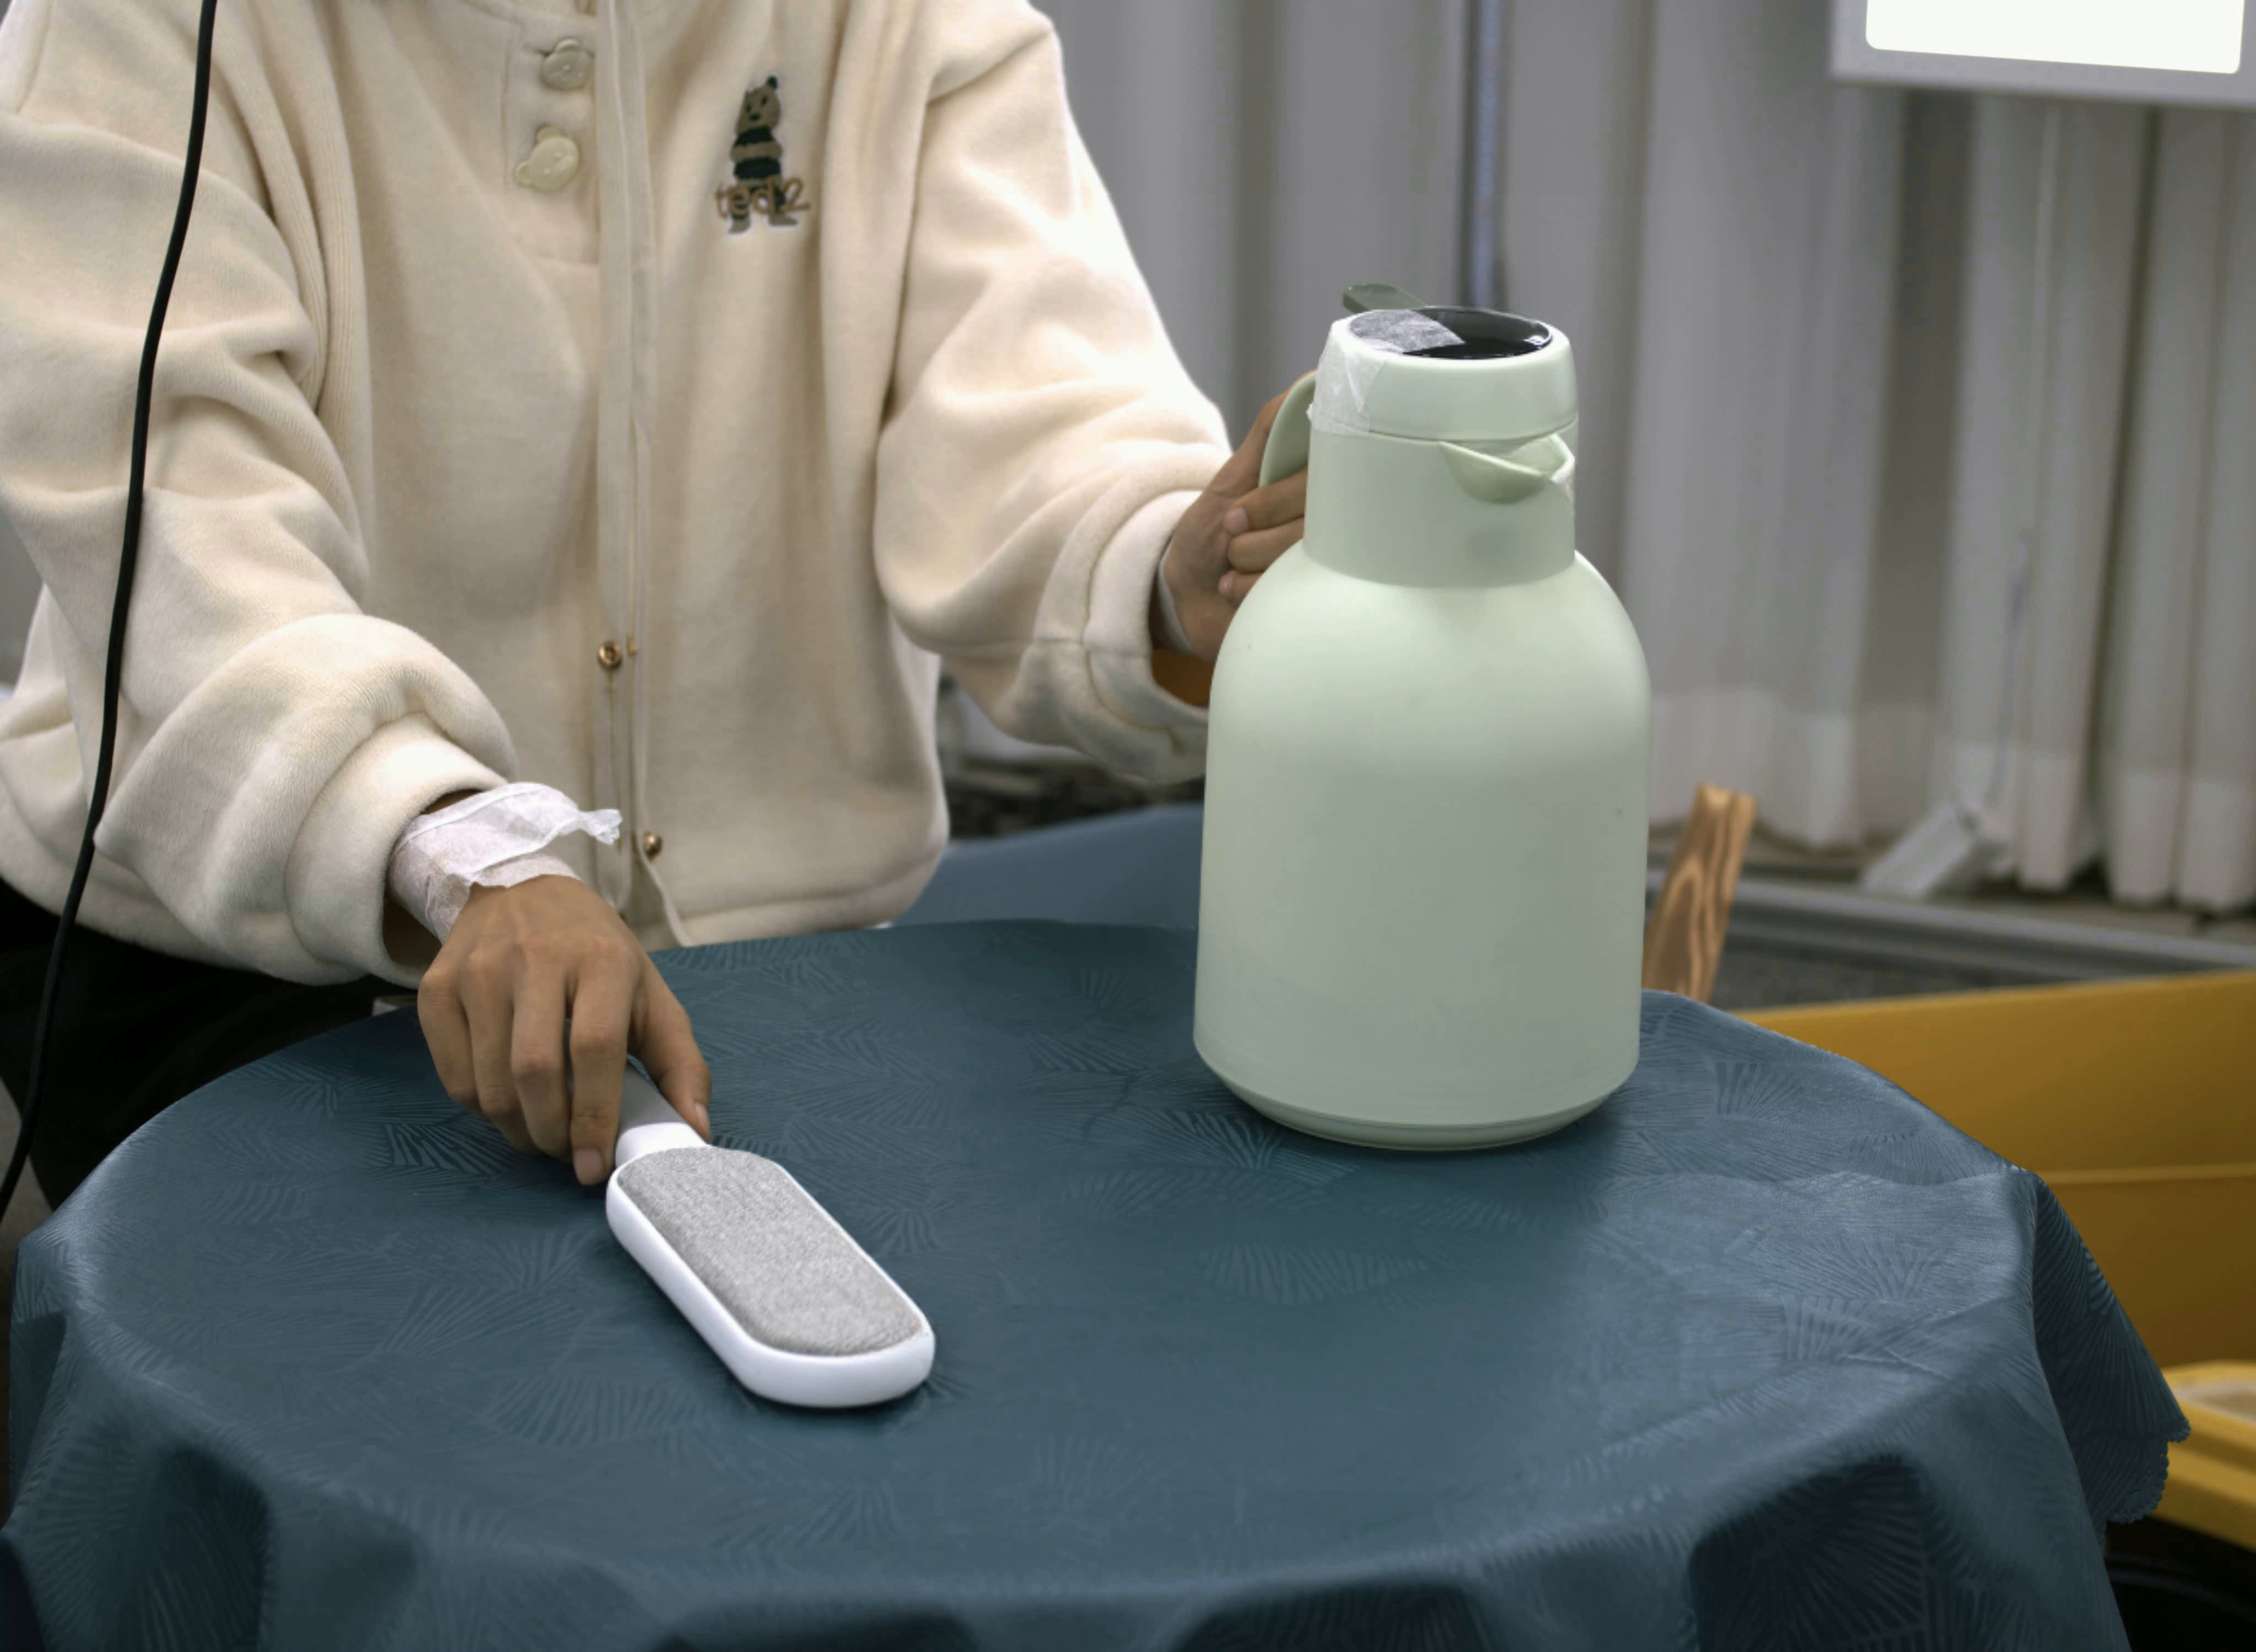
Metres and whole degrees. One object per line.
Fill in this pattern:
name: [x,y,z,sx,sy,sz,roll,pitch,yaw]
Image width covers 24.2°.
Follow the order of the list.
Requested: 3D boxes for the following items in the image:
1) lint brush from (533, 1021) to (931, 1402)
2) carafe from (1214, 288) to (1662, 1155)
lint brush: [-0.127,0.110,1.571,0.060,0.021,0.305,-7,18,-20]
carafe: [0.093,-0.038,1.683,0.144,0.259,0.184,-8,18,-21]
